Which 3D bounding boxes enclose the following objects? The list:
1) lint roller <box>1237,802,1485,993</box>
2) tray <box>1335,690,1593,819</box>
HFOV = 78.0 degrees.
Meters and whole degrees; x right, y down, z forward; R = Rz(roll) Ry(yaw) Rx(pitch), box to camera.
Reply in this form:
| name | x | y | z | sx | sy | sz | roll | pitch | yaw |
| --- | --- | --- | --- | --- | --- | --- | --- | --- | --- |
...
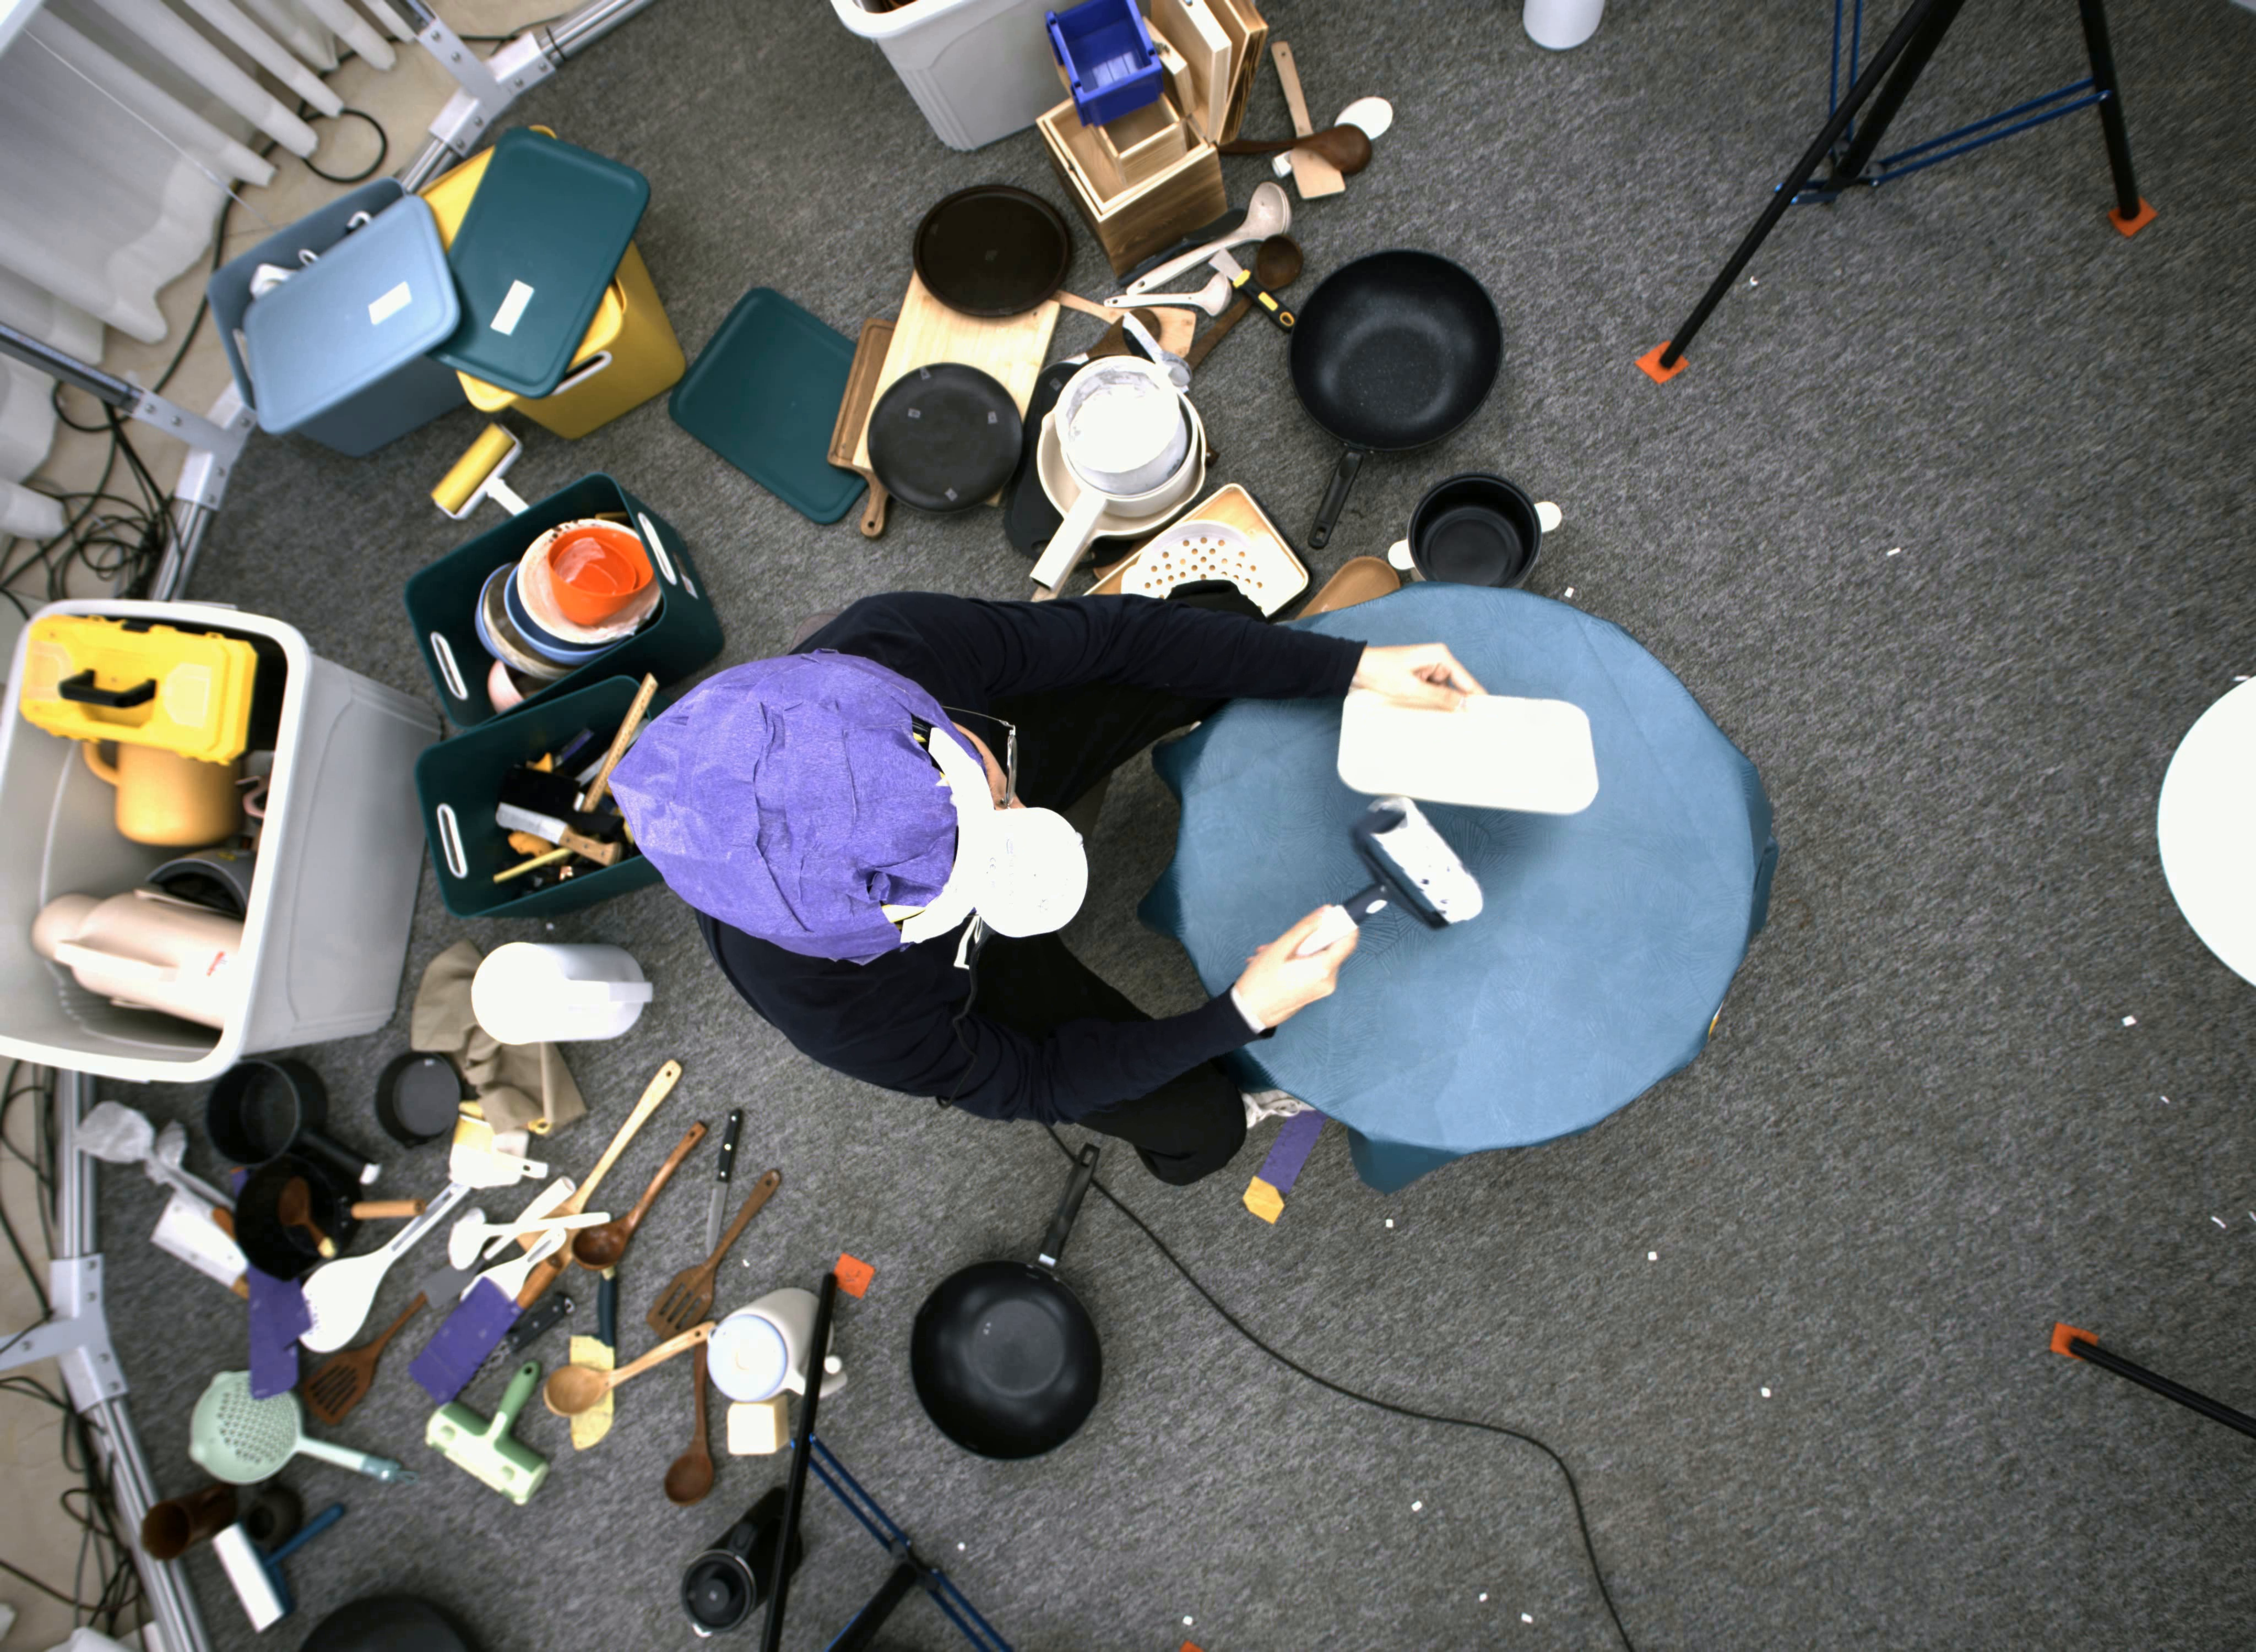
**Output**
| name | x | y | z | sx | sy | sz | roll | pitch | yaw |
| --- | --- | --- | --- | --- | --- | --- | --- | --- | --- |
| lint roller | 0.212 | 0.094 | 1.342 | 0.250 | 0.178 | 0.049 | -37 | 43 | 15 |
| tray | 0.322 | -0.072 | 1.325 | 0.240 | 0.166 | 0.018 | 7 | 131 | 9 |
